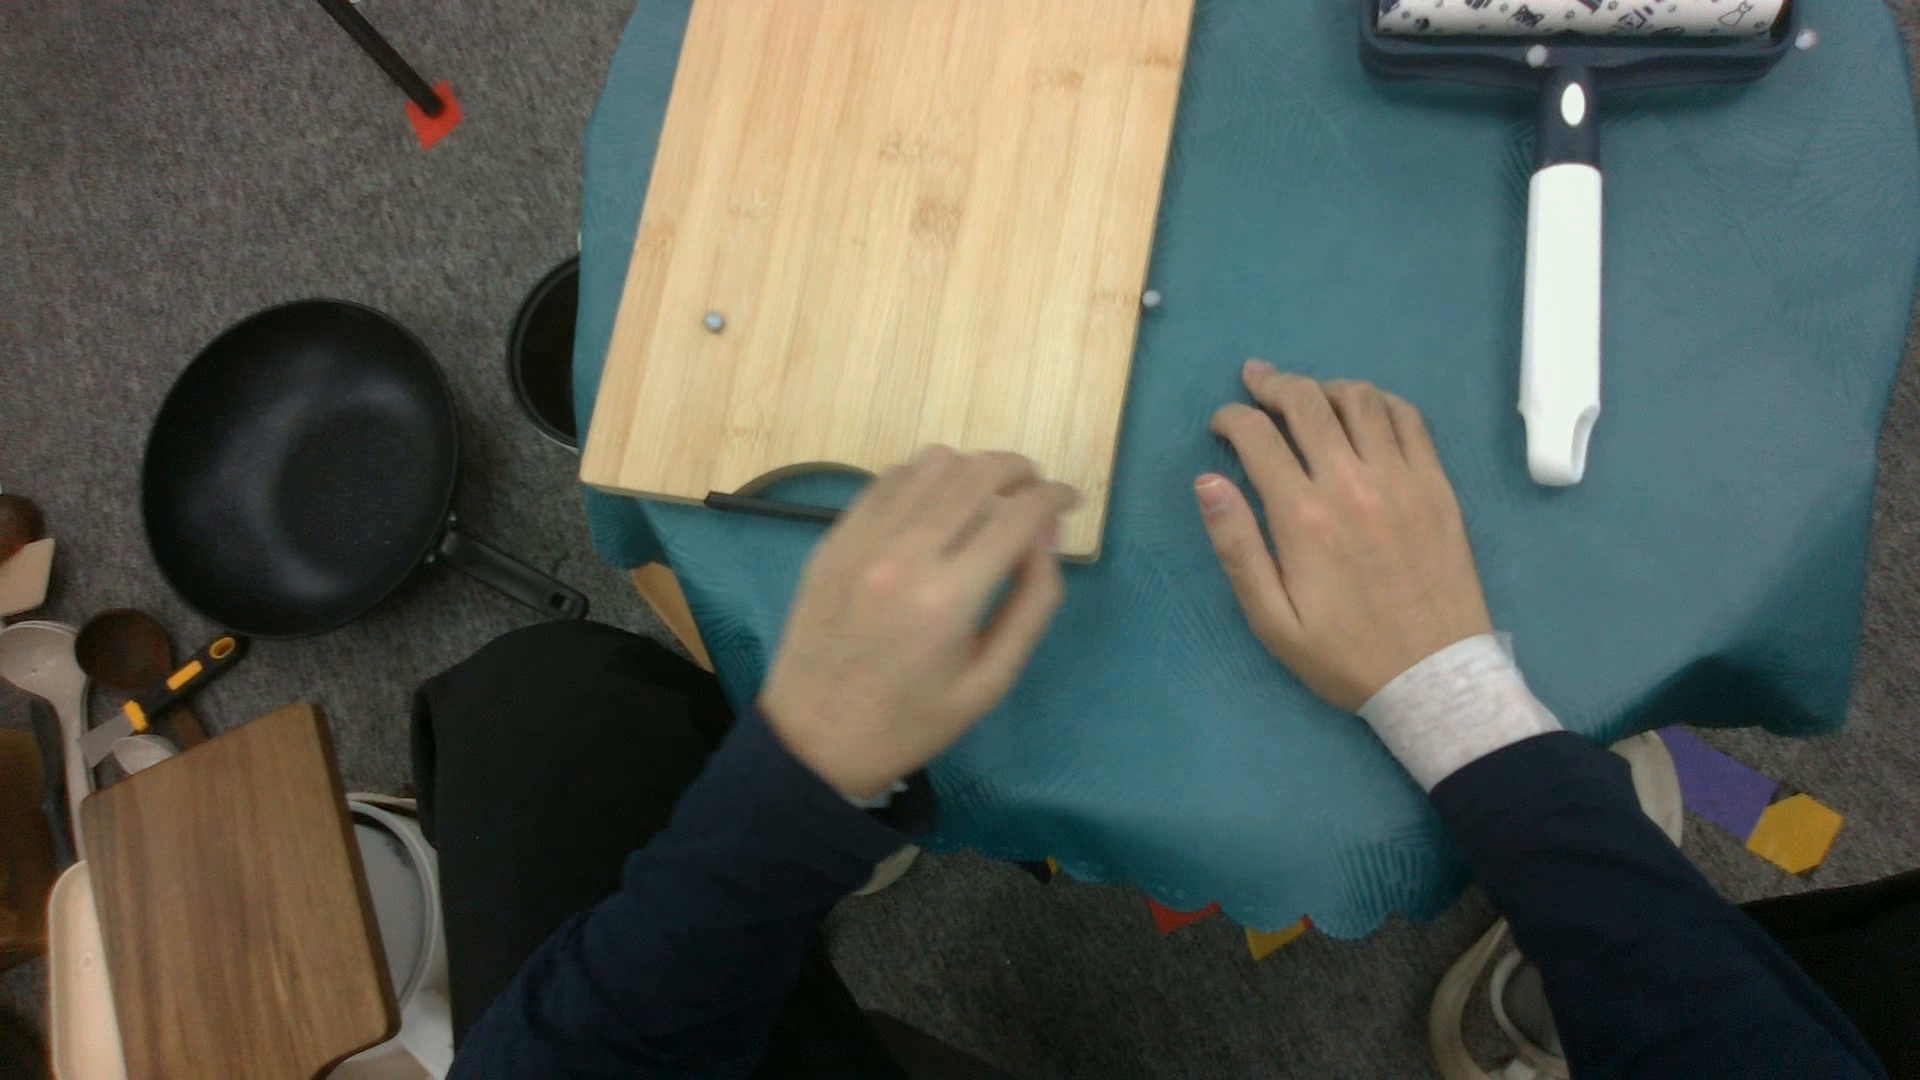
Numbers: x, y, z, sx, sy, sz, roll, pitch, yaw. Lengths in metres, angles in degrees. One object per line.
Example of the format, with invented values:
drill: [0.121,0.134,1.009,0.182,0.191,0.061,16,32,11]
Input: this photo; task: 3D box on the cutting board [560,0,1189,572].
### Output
cutting board: [-0.031,-0.170,0.646,0.250,0.023,0.349,8,78,12]

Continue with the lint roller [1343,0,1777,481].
lint roller: [0.250,-0.148,0.580,0.176,0.050,0.247,3,79,9]
